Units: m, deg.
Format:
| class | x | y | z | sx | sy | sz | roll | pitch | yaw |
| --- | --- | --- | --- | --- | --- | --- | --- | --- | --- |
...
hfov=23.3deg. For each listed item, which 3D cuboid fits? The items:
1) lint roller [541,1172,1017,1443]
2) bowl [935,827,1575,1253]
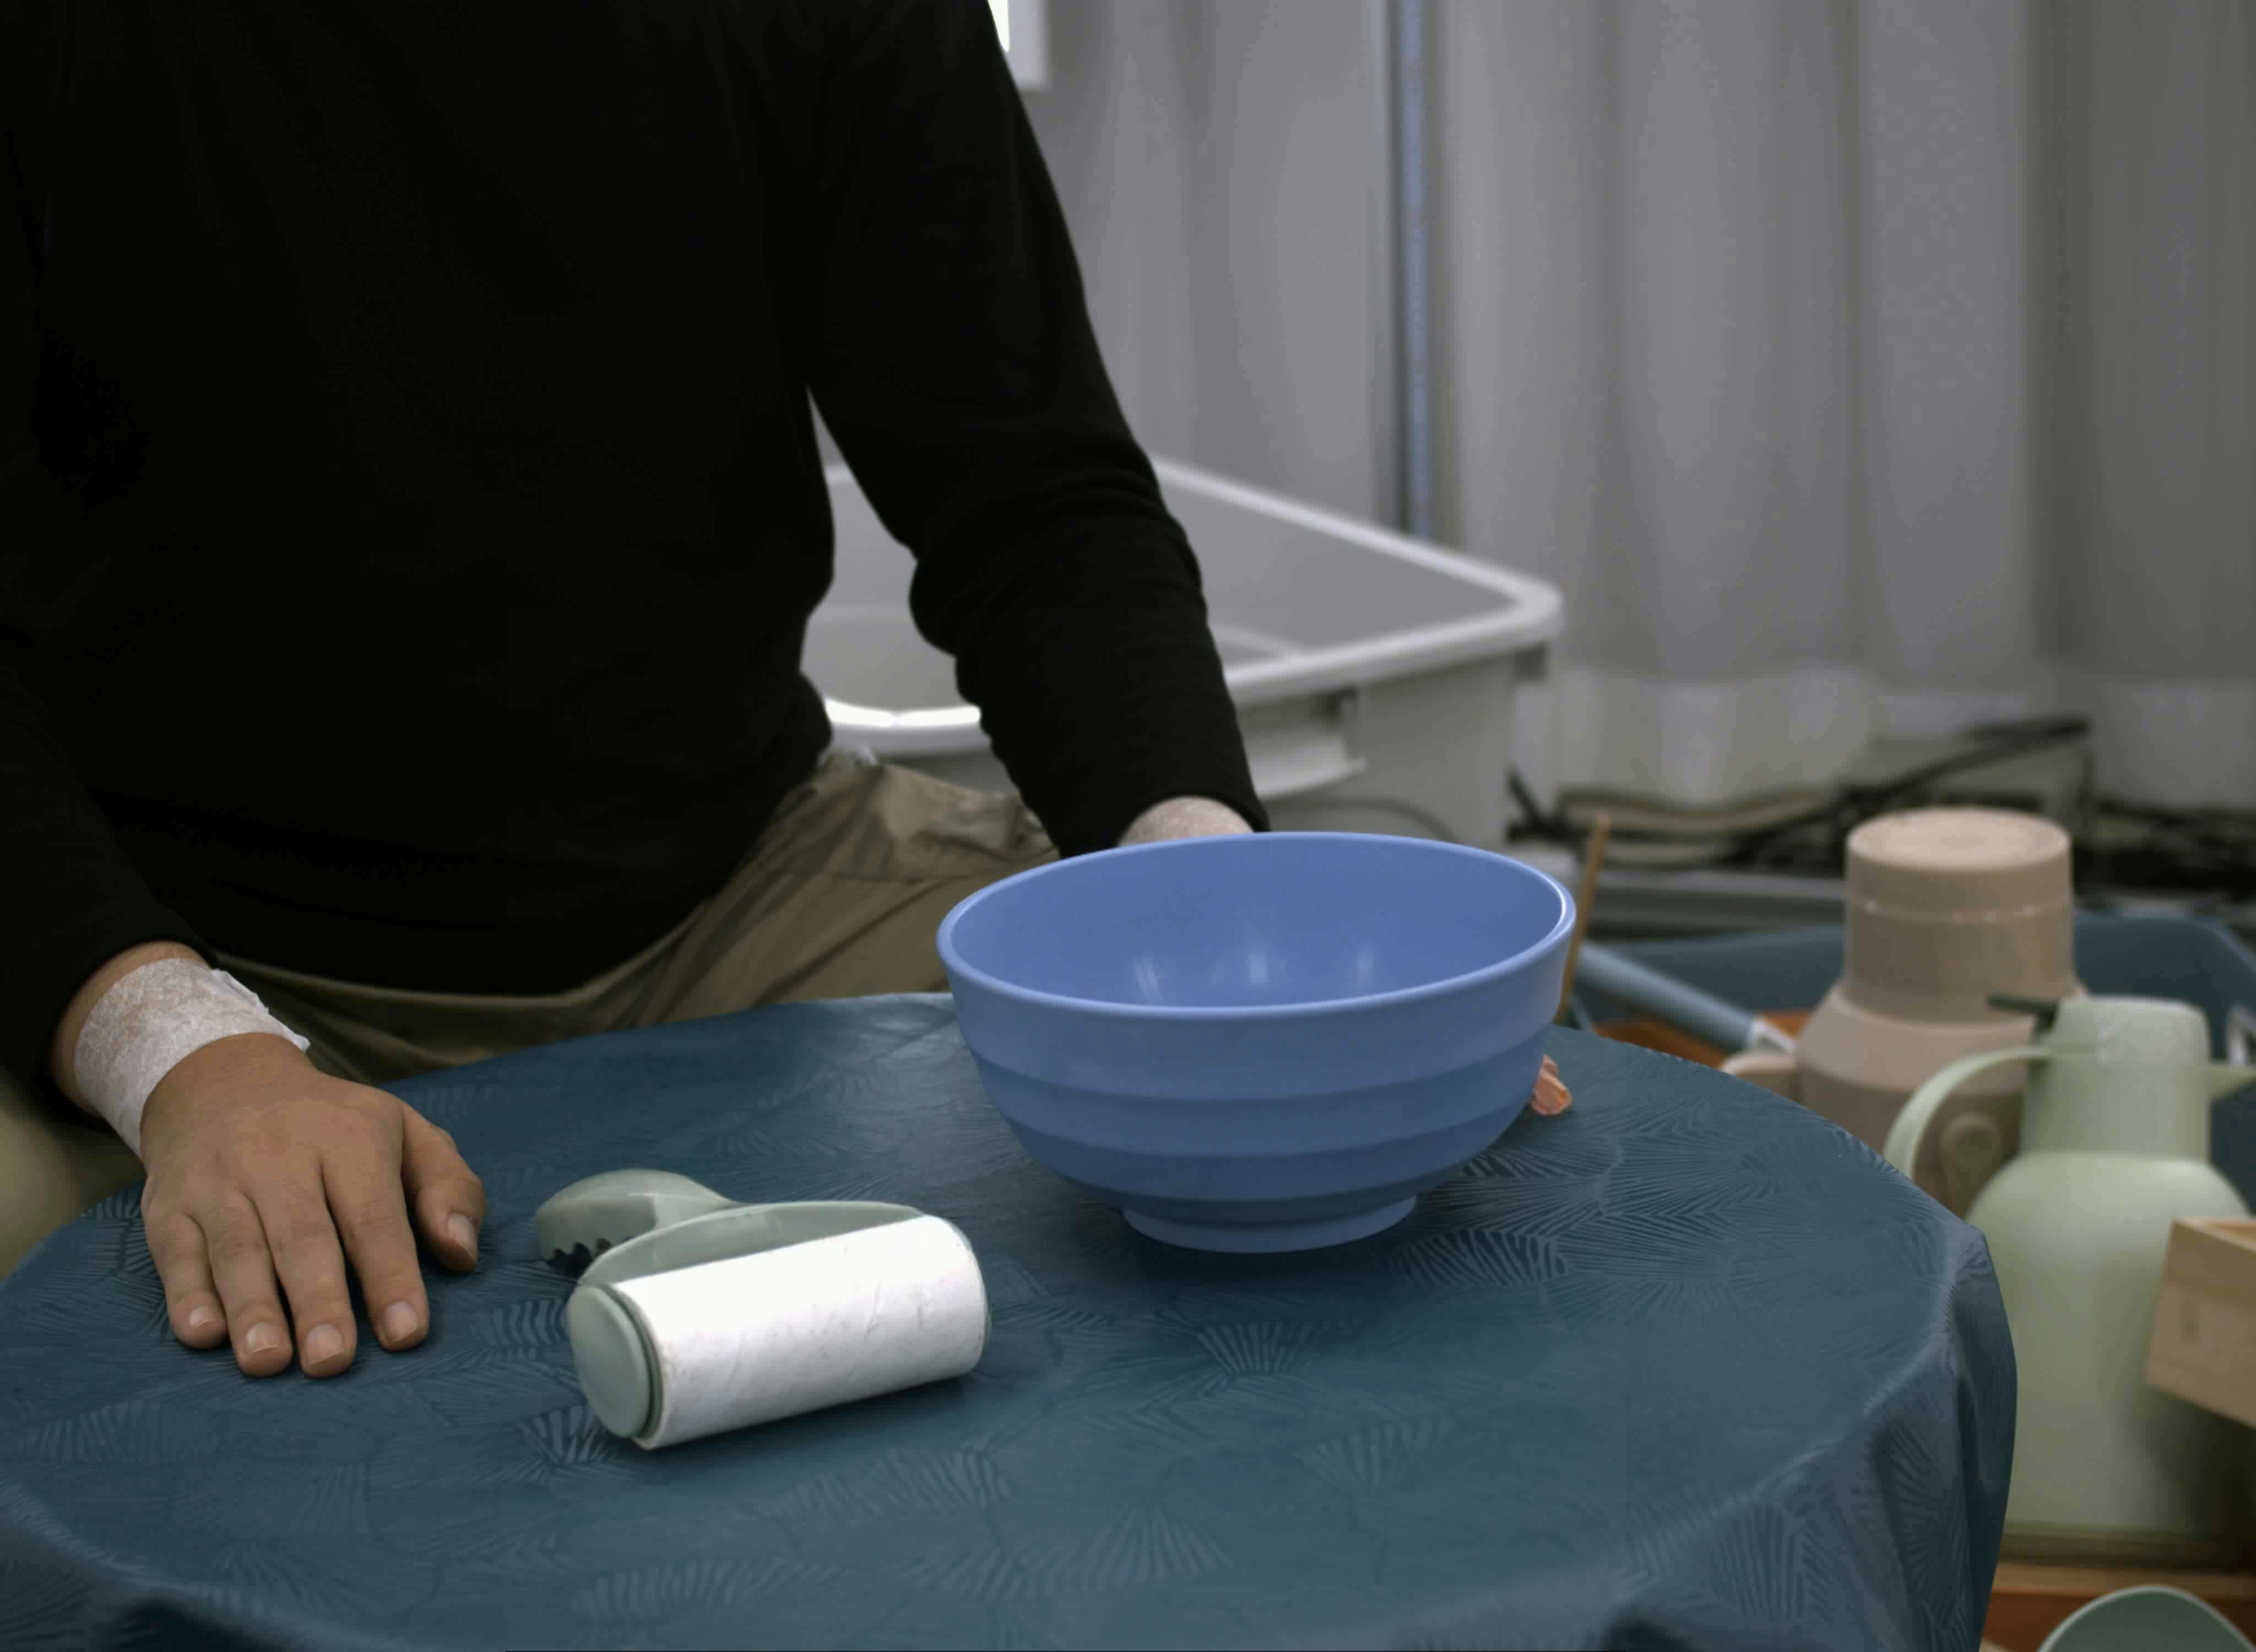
| class | x | y | z | sx | sy | sz | roll | pitch | yaw |
| --- | --- | --- | --- | --- | --- | --- | --- | --- | --- |
| lint roller | -0.123 | 0.127 | 1.606 | 0.116 | 0.048 | 0.199 | -12 | 16 | -27 |
| bowl | 0.042 | 0.071 | 1.682 | 0.196 | 0.095 | 0.198 | -4 | 15 | 1 |
